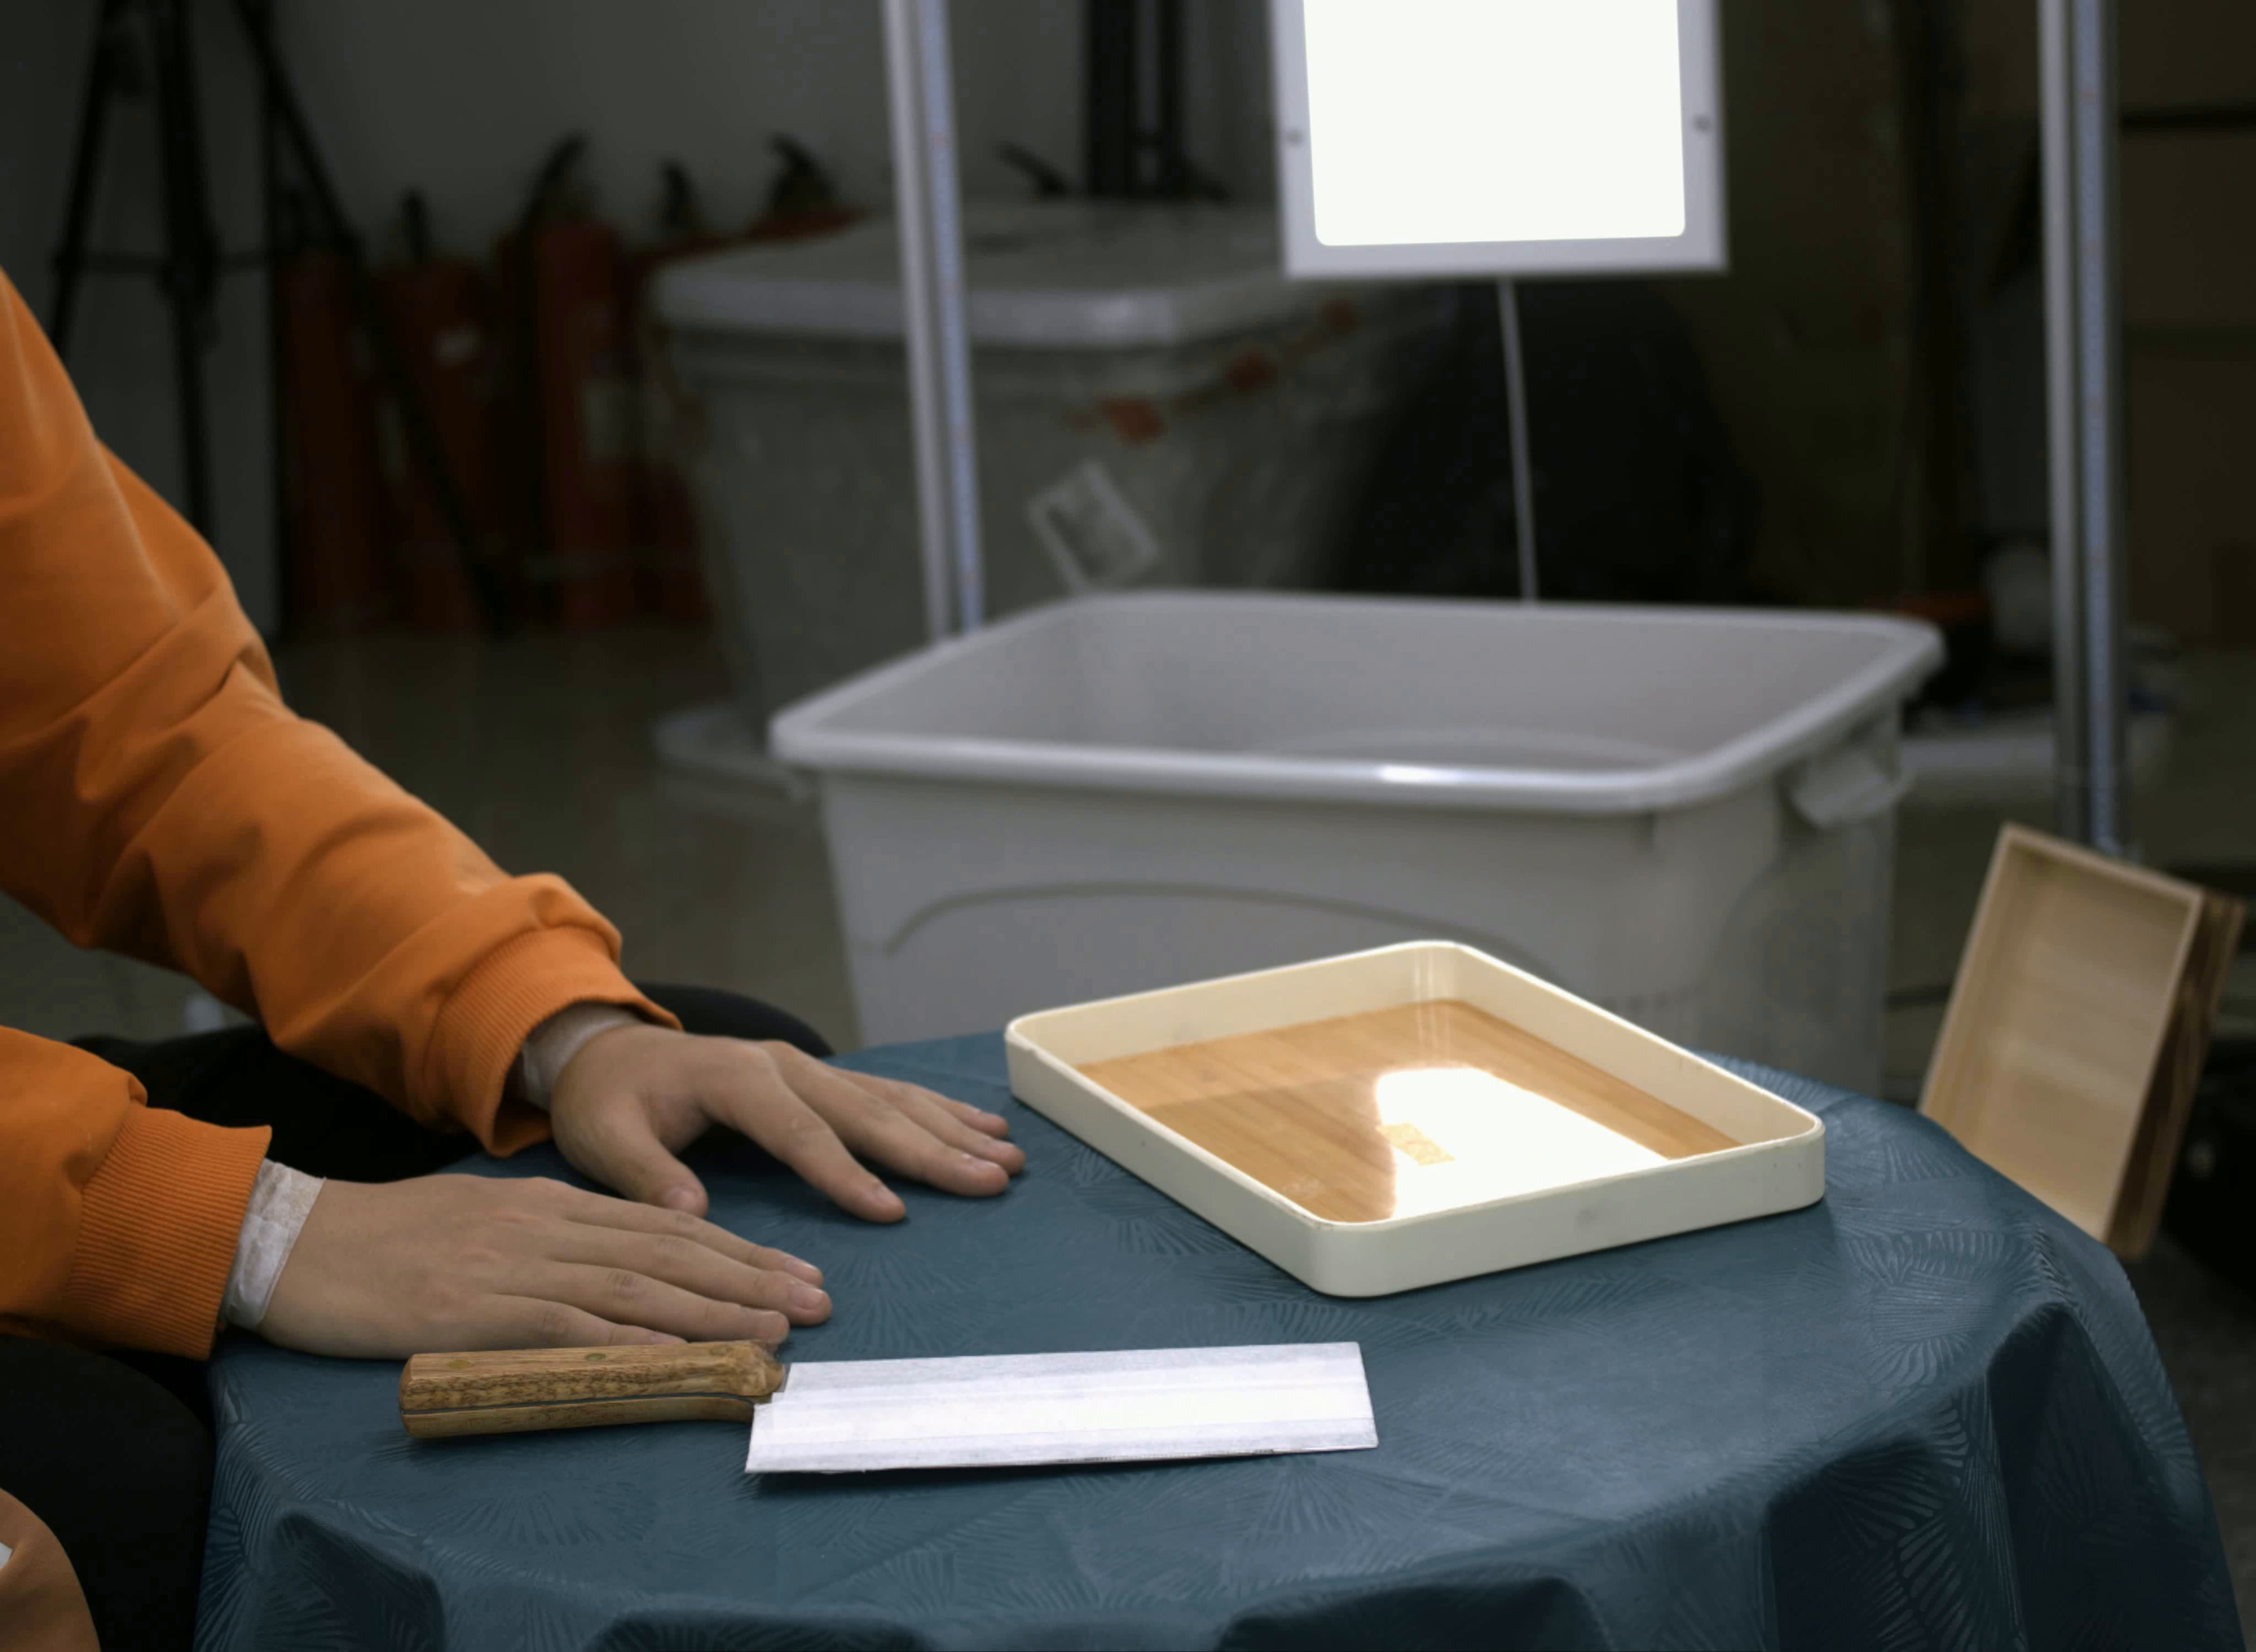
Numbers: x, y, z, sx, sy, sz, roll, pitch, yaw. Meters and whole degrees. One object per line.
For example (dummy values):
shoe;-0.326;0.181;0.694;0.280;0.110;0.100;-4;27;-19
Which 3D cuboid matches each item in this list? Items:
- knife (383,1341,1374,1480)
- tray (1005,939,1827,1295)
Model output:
knife;-0.078;0.179;1.682;0.305;0.021;0.092;-2;15;2
tray;0.095;0.098;1.921;0.188;0.027;0.304;-10;15;-20
